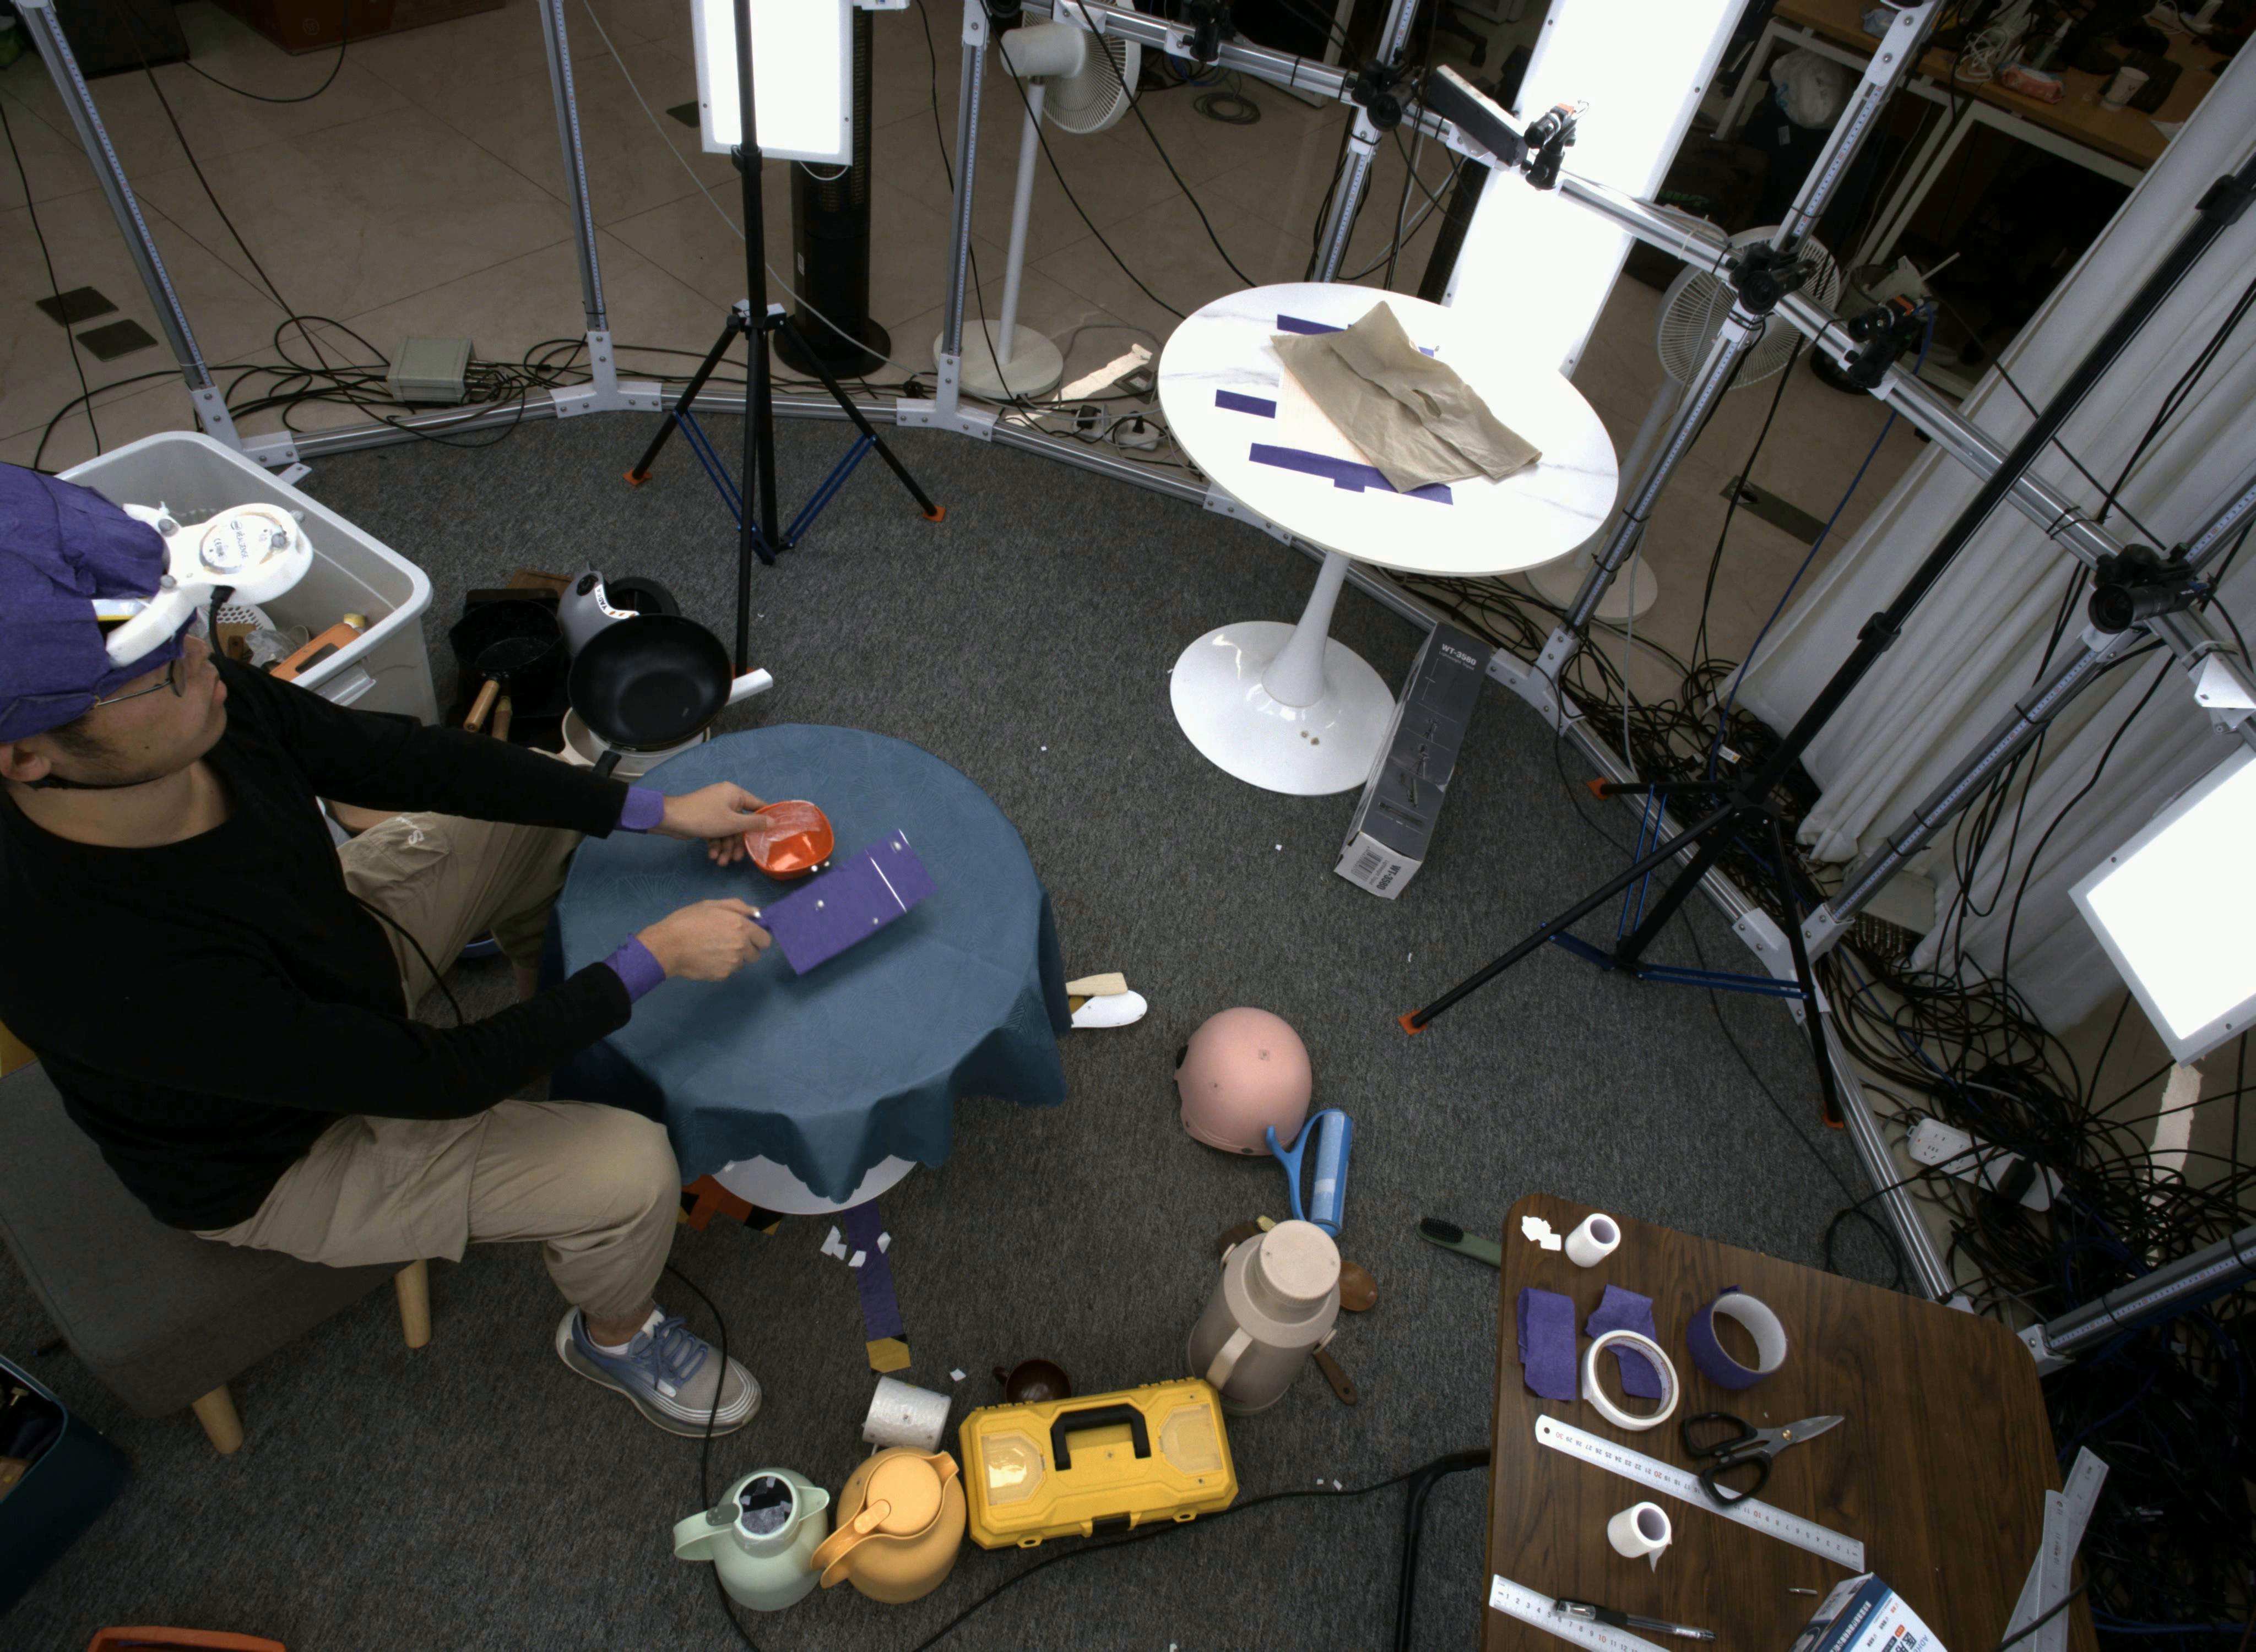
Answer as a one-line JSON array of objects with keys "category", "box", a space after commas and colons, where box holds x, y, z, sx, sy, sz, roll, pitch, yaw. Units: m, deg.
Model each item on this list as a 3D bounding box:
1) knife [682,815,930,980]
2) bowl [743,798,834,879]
[{"category": "knife", "box": [-0.379, 0.108, 1.564, 0.316, 0.032, 0.105, -35, 97, -26]}, {"category": "bowl", "box": [-0.436, 0.023, 1.664, 0.119, 0.052, 0.117, 9, 51, -10]}]
